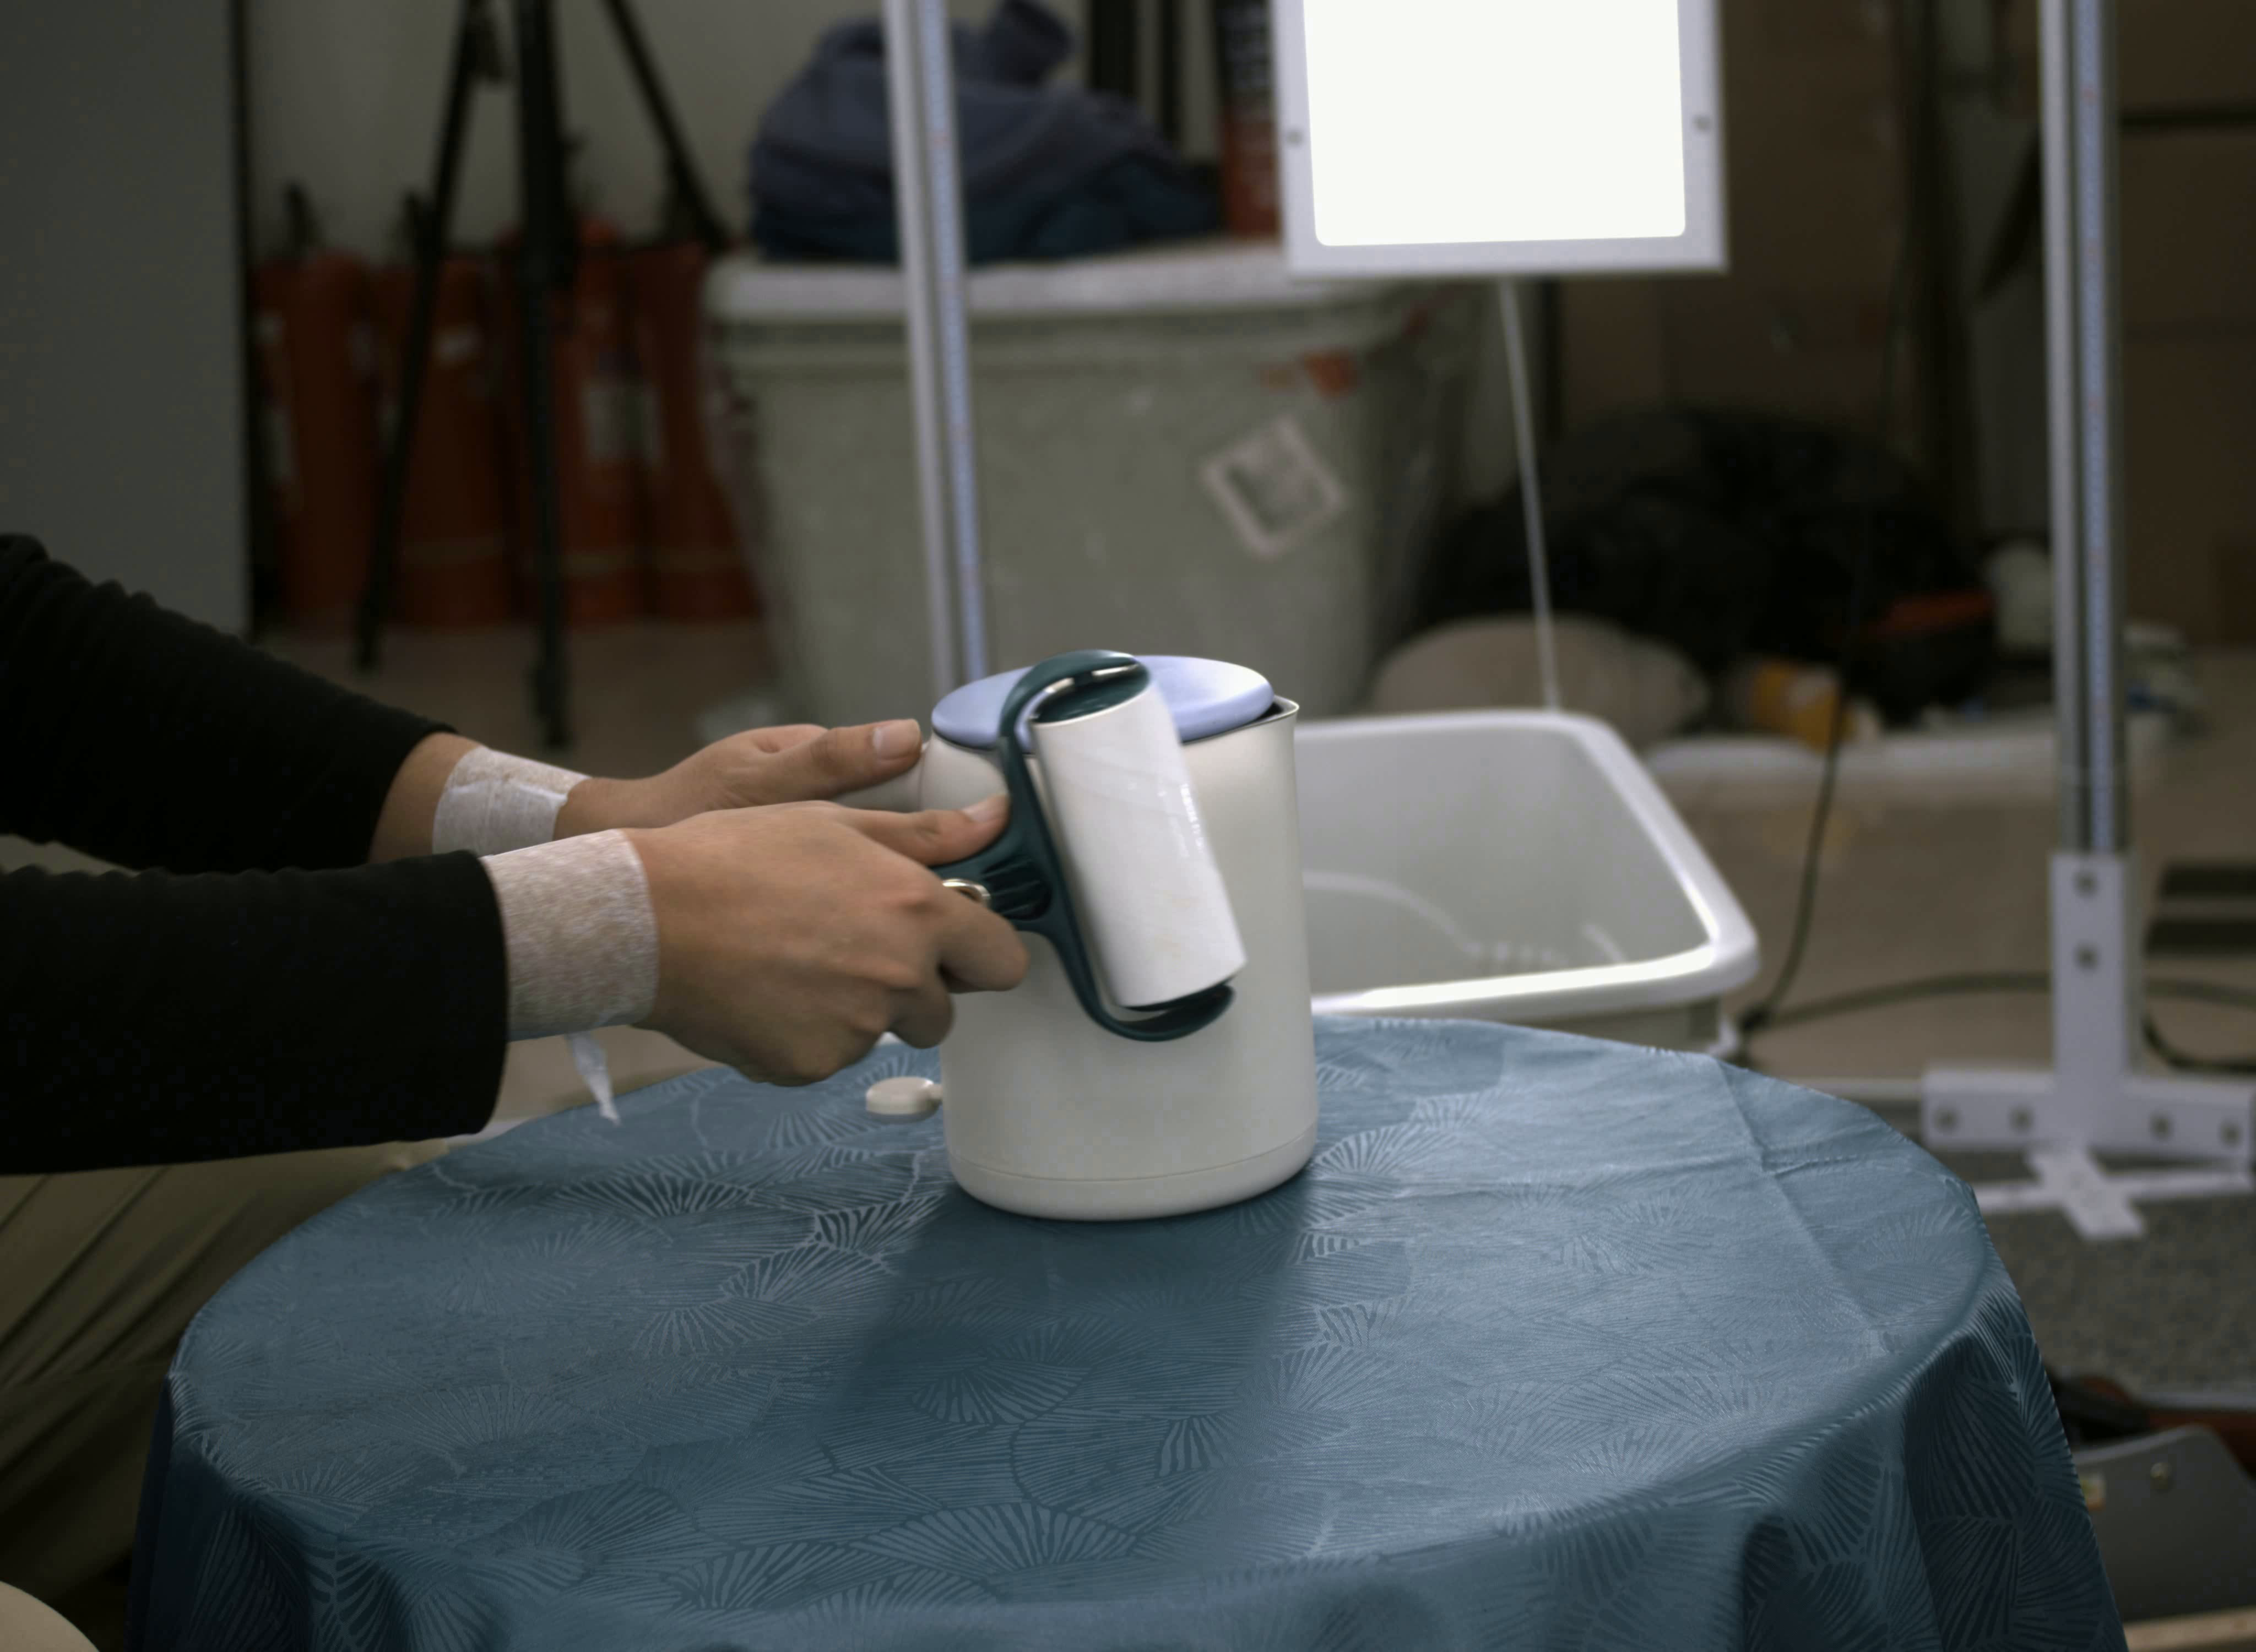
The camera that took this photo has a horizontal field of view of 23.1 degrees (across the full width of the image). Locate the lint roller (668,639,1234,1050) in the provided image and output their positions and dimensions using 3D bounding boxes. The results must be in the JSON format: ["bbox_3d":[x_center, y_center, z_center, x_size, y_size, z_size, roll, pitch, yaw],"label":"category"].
[{"bbox_3d":[-0.062,0.029,1.789,0.178,0.134,0.049,-21,12,-13],"label":"lint roller"}]

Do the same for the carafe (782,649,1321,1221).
[{"bbox_3d":[-0.027,0.038,1.907,0.192,0.183,0.131,-4,13,13],"label":"carafe"}]
